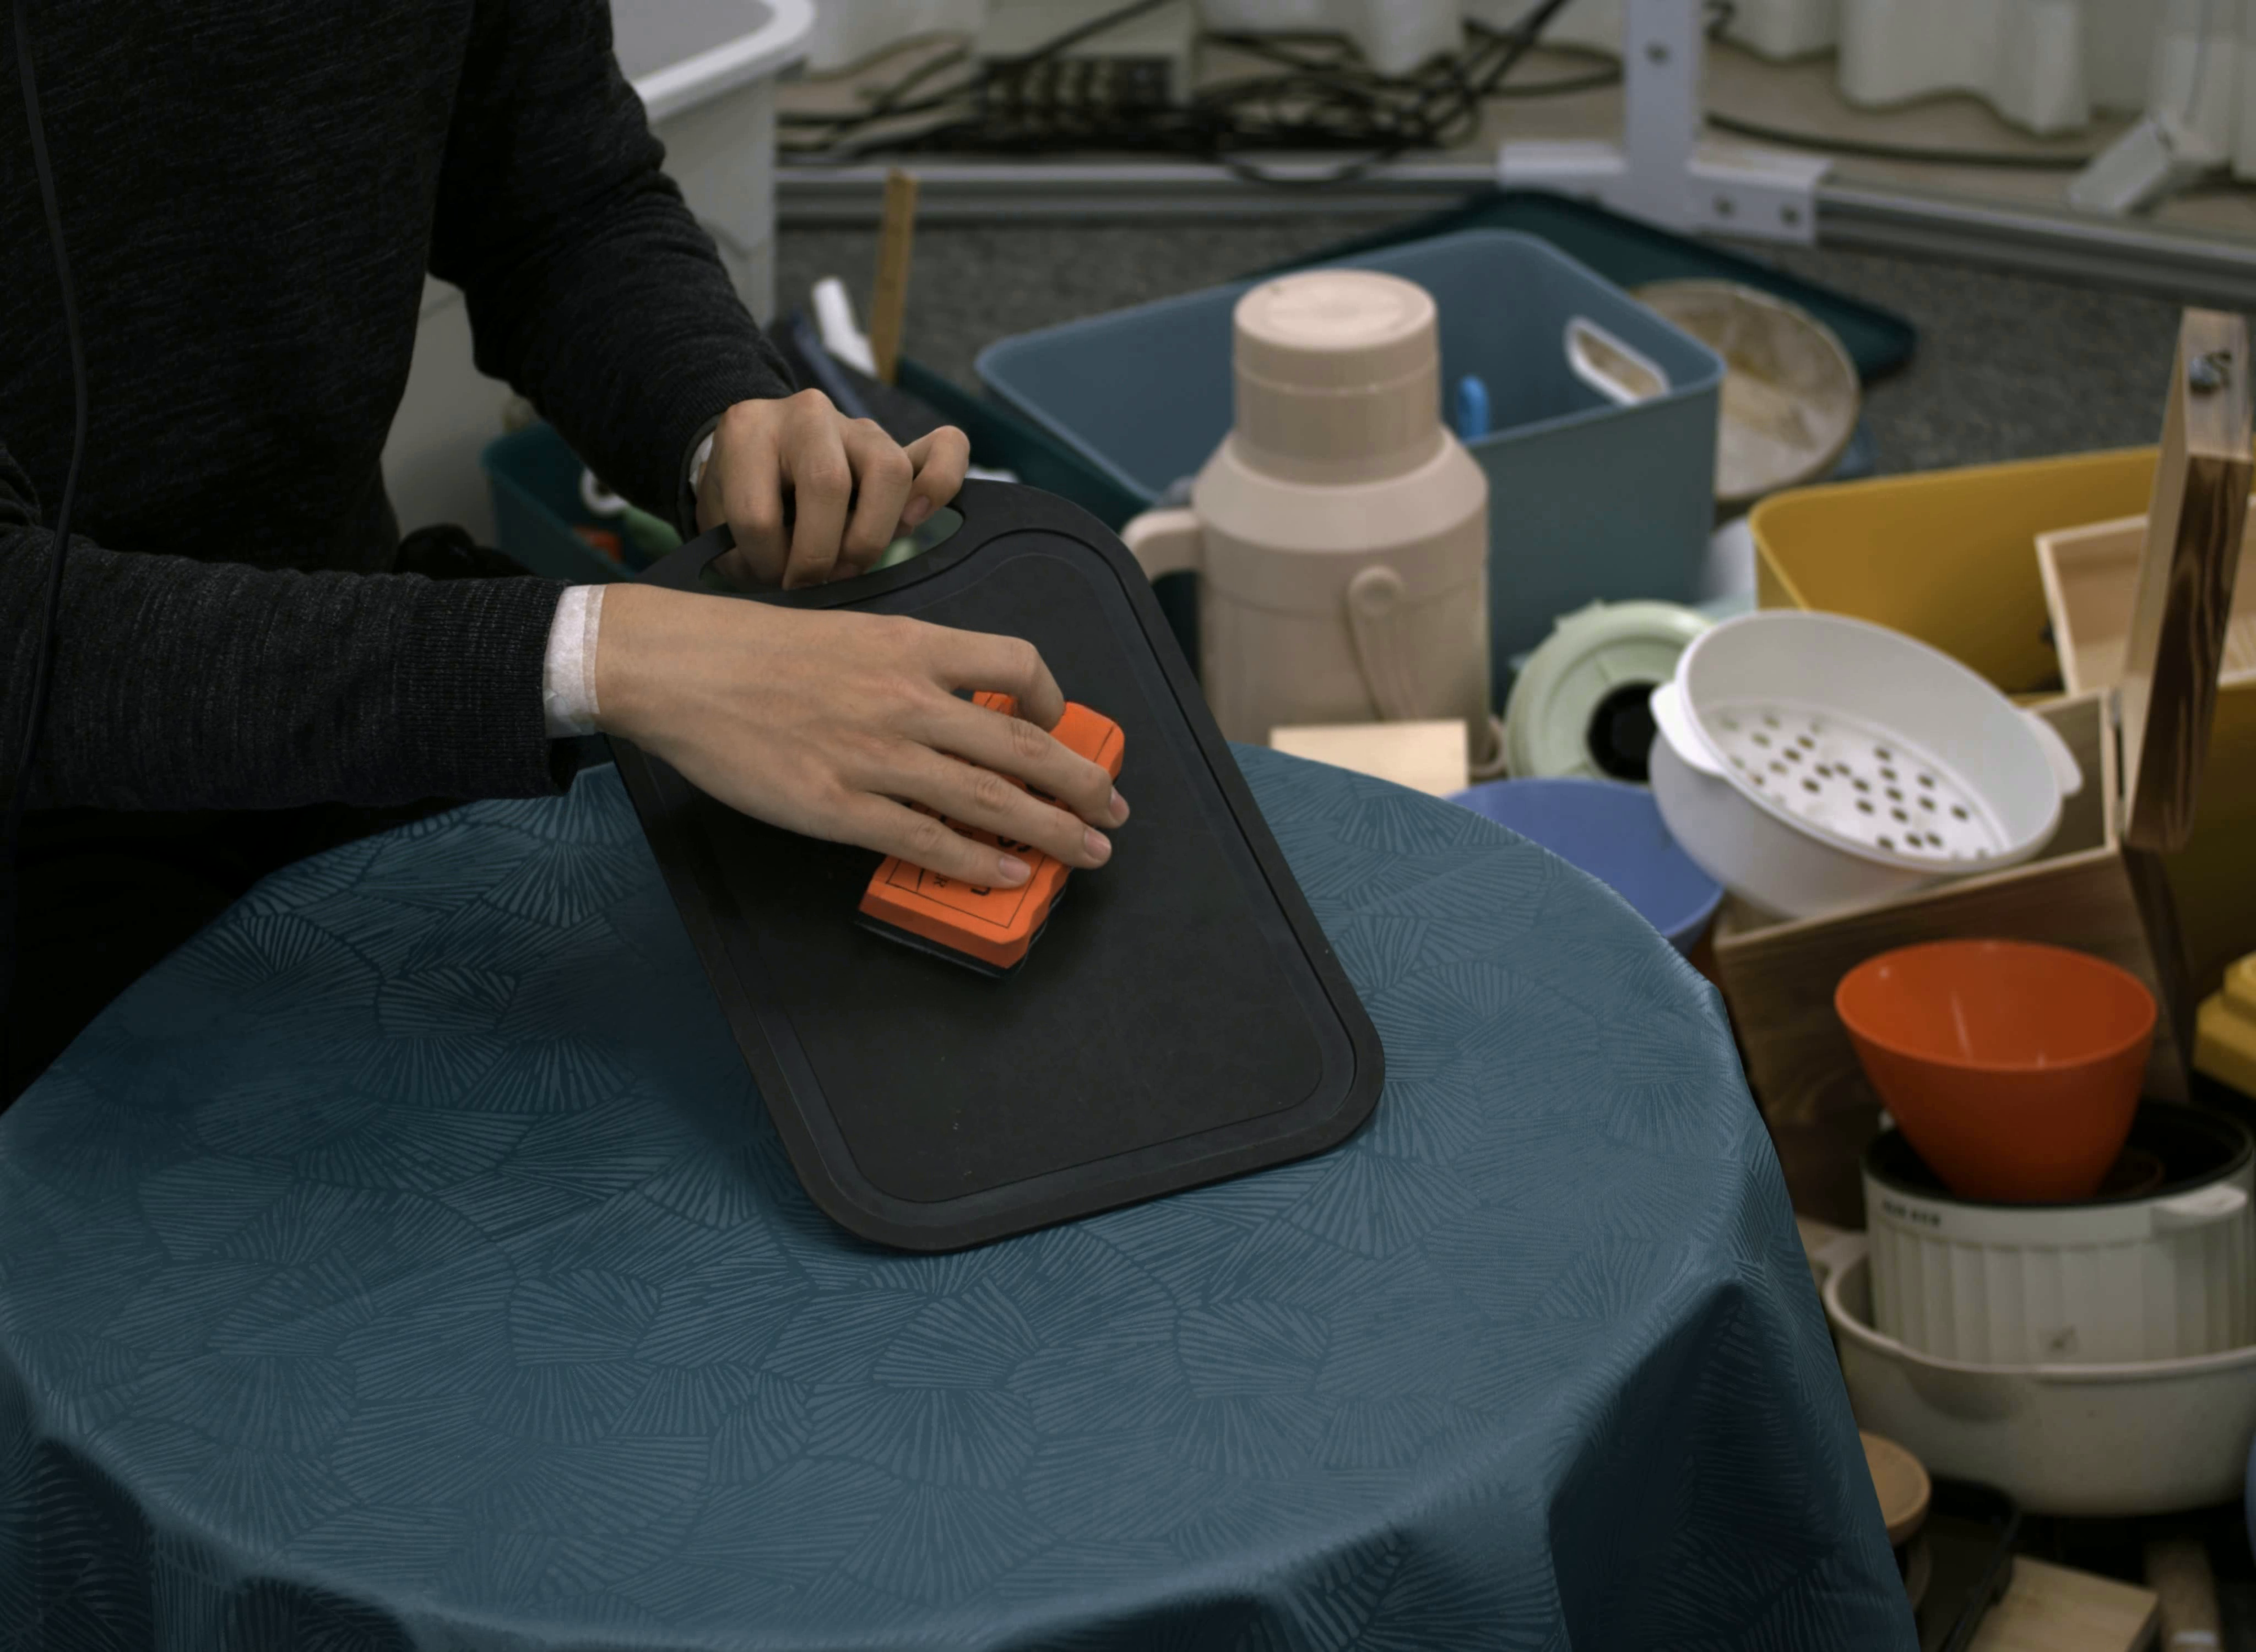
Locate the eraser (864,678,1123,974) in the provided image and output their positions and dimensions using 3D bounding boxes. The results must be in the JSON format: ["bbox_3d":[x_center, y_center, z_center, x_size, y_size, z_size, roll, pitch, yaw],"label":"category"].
[{"bbox_3d":[-0.046,0.000,1.941,0.059,0.022,0.110,20,51,11],"label":"eraser"}]

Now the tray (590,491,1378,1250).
[{"bbox_3d":[-0.057,0.004,1.947,0.211,0.009,0.330,-12,53,-19],"label":"tray"}]
